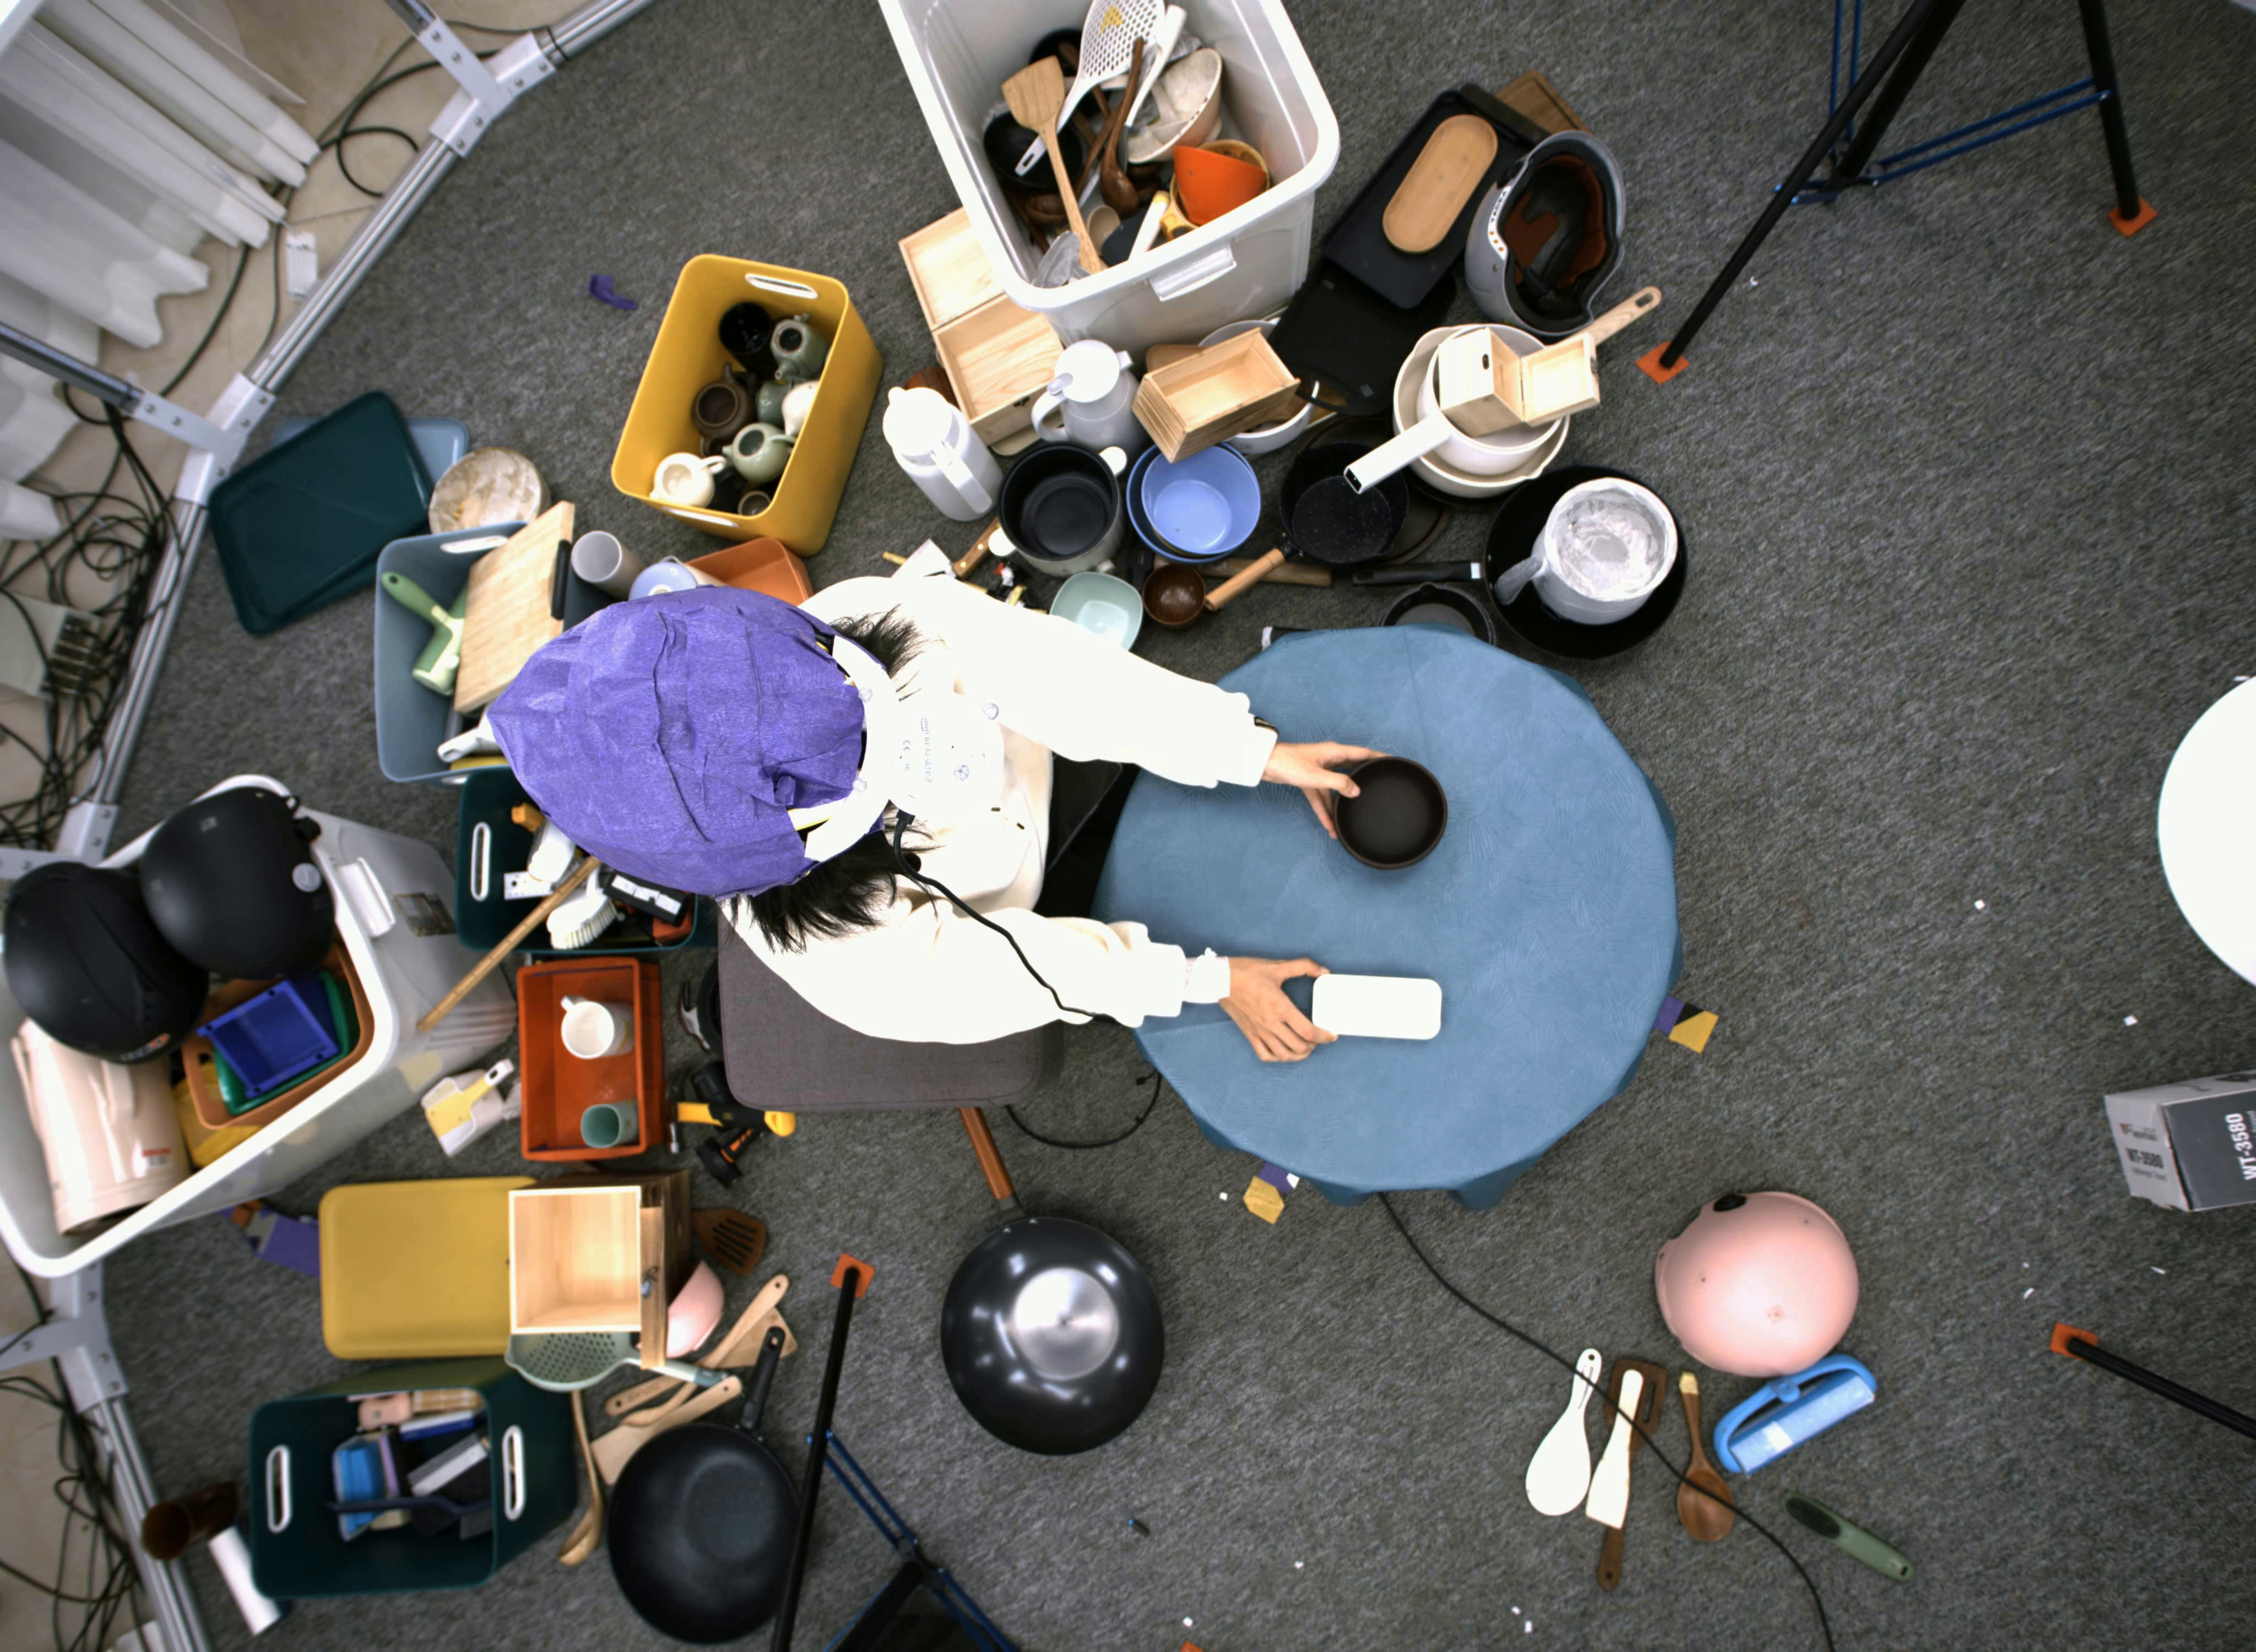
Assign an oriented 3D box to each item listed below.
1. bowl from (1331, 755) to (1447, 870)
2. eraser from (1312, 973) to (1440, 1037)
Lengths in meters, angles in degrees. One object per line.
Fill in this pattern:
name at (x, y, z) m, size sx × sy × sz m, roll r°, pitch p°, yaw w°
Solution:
bowl at (0.270, -0.013, 1.428) m, size 0.118 × 0.070 × 0.117 m, roll -1°, pitch 84°, yaw 11°
eraser at (0.258, 0.184, 1.441) m, size 0.132 × 0.034 × 0.063 m, roll 2°, pitch 87°, yaw 10°
